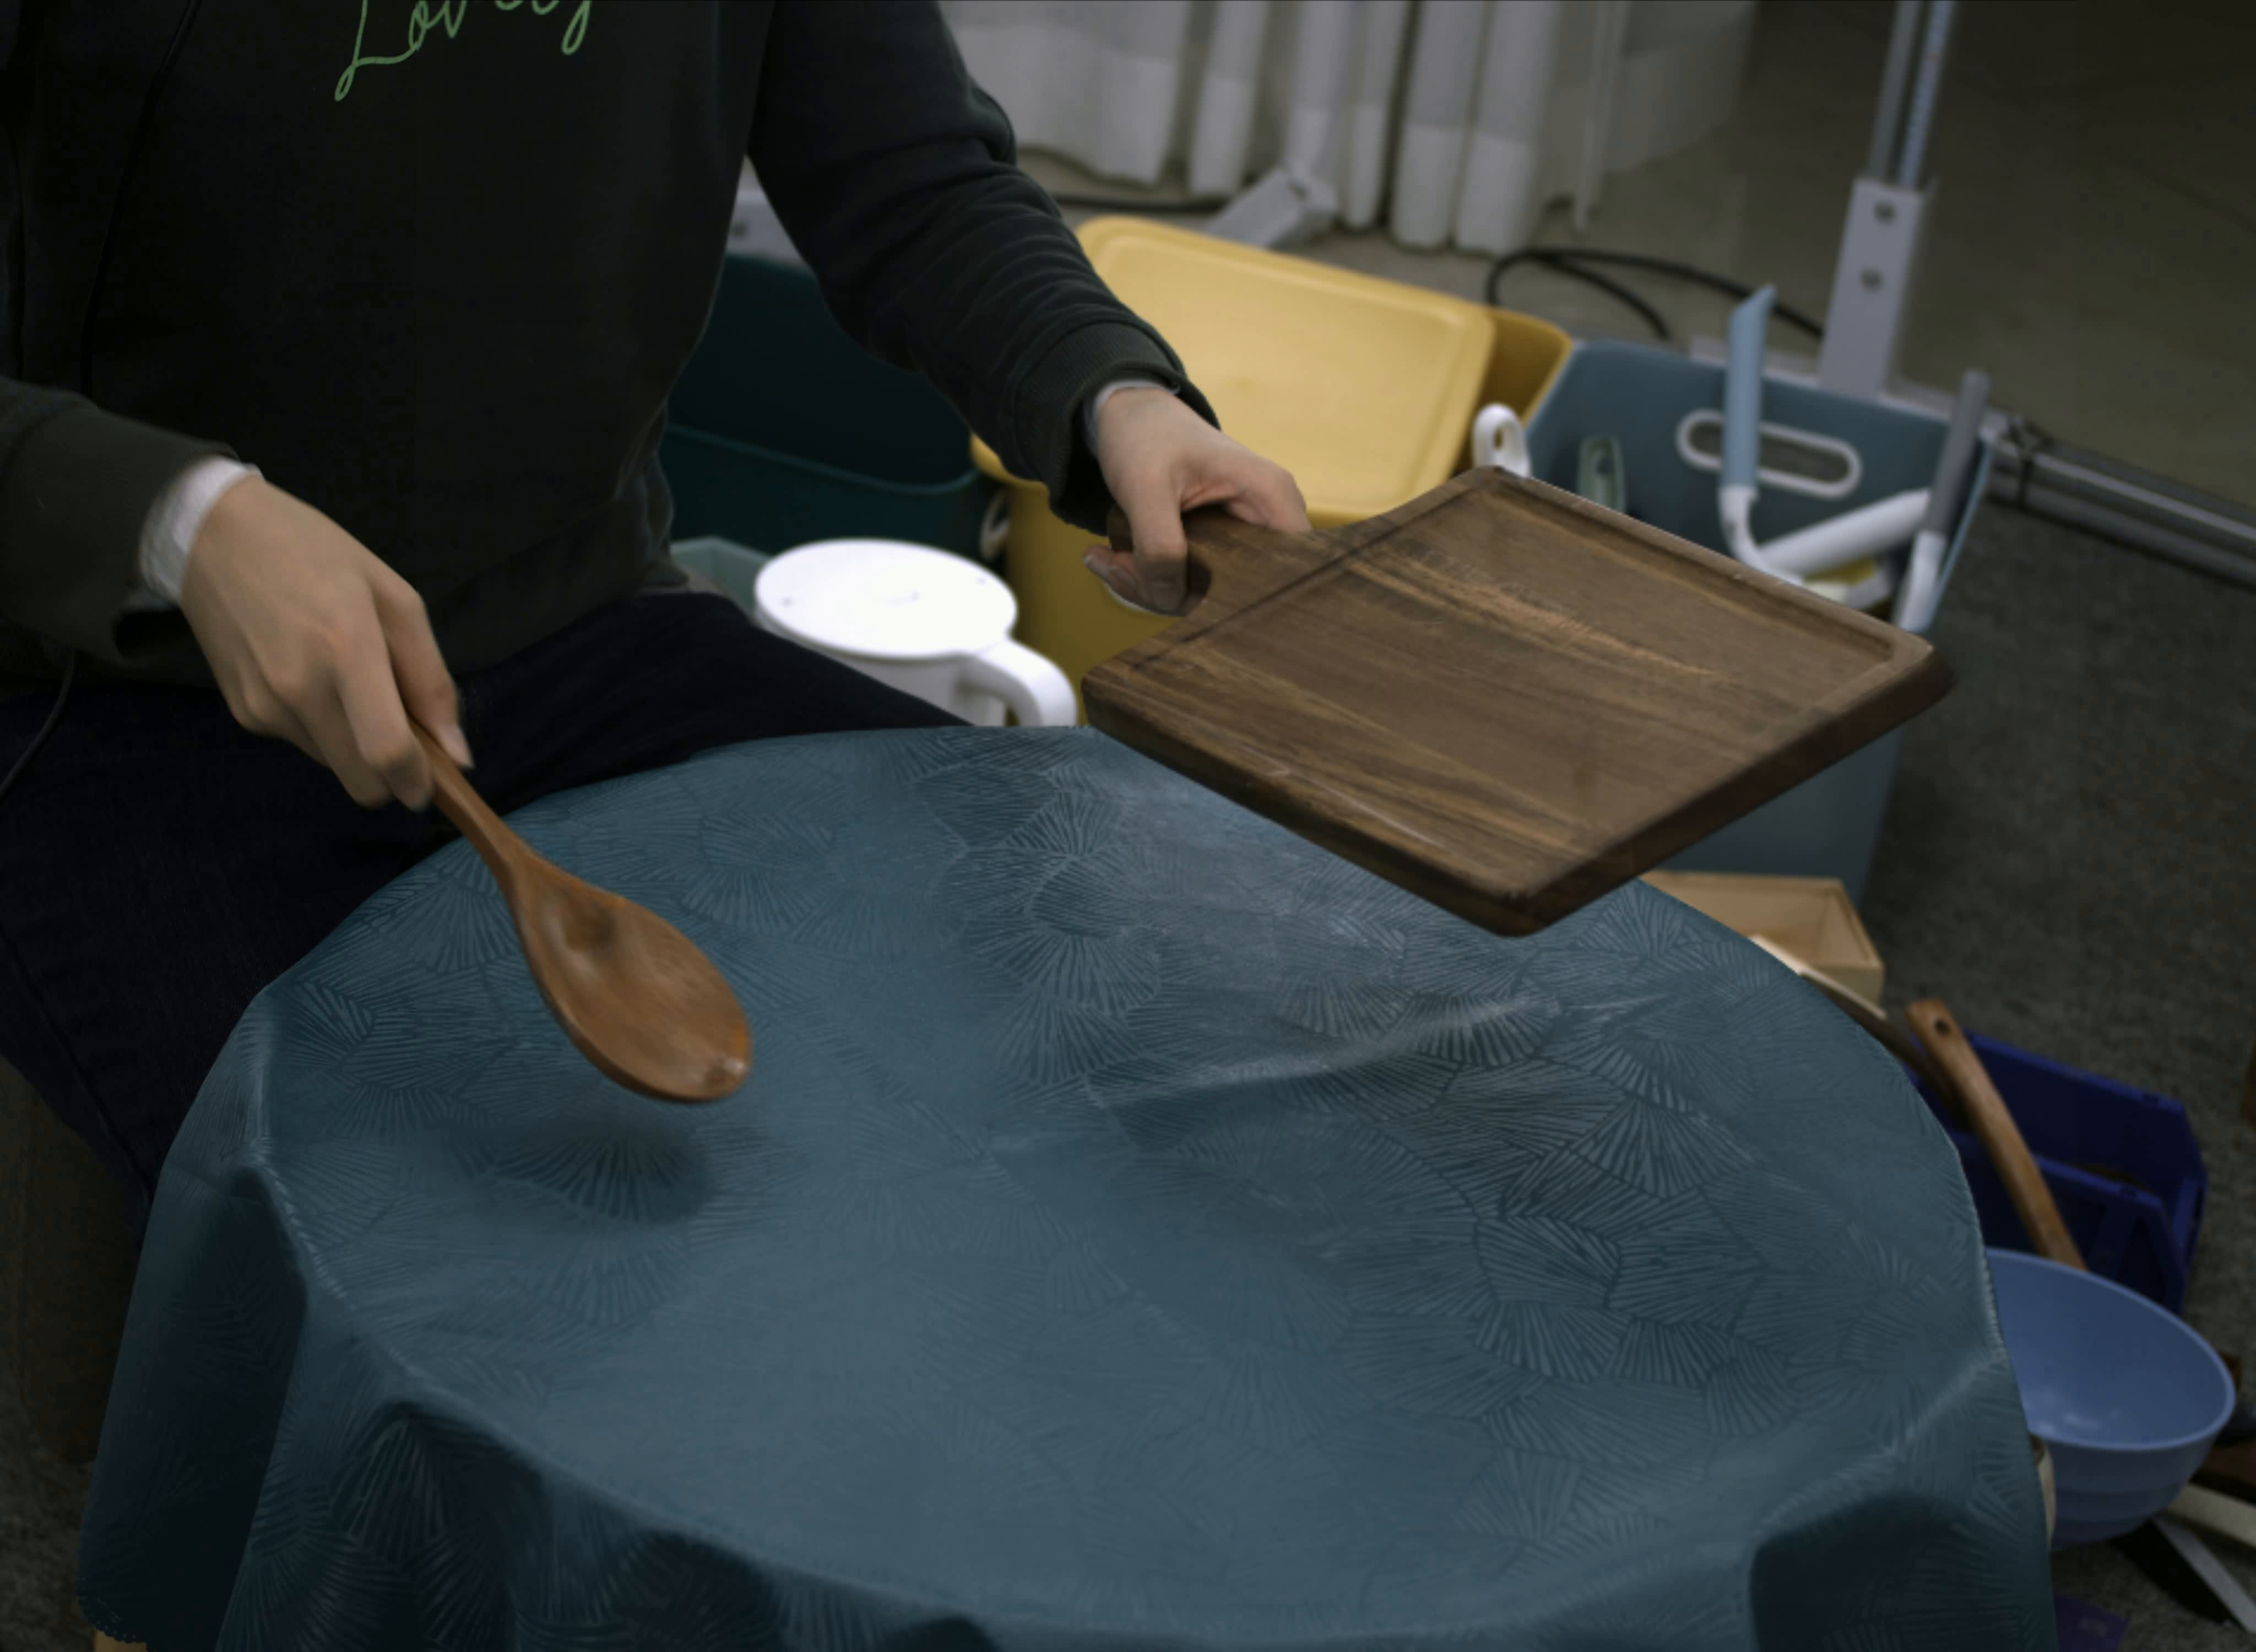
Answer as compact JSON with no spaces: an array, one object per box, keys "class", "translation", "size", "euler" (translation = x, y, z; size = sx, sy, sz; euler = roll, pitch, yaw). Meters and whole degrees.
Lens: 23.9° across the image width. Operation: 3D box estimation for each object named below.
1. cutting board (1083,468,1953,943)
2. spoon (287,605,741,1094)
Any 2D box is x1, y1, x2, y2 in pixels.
[{"class":"cutting board","translation":[0.103,-0.062,1.875],"size":[0.200,0.023,0.355],"euler":[-29,32,-24]},{"class":"spoon","translation":[-0.210,0.008,1.785],"size":[0.216,0.017,0.075],"euler":[49,36,10]}]
